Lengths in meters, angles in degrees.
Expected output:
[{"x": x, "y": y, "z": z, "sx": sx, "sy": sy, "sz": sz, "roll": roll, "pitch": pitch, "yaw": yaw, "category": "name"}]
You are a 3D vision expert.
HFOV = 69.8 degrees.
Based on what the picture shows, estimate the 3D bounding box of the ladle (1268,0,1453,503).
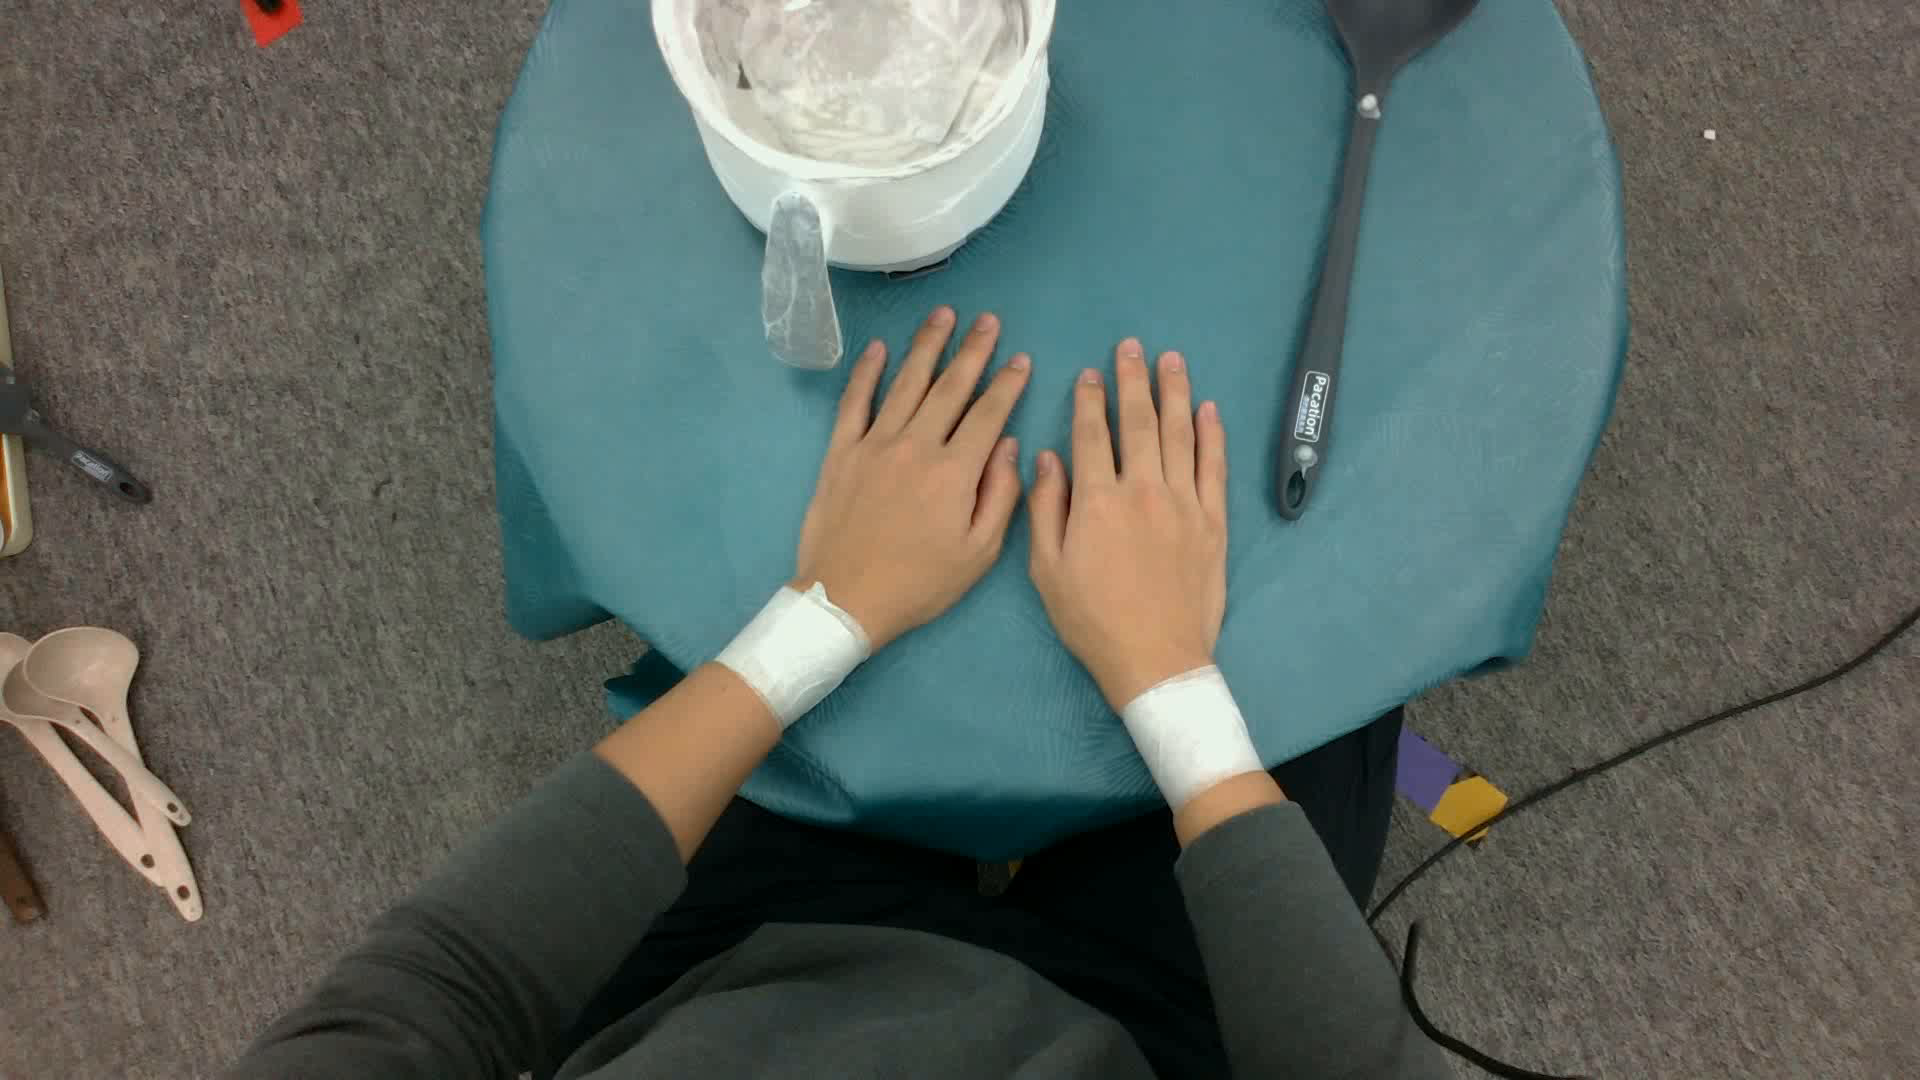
[{"x": 0.194, "y": -0.174, "z": 0.697, "sx": 0.086, "sy": 0.064, "sz": 0.314, "roll": 11, "pitch": 81, "yaw": 7, "category": "ladle"}]

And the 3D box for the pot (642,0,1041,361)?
[{"x": -0.058, "y": -0.208, "z": 0.665, "sx": 0.179, "sy": 0.136, "sz": 0.234, "roll": 13, "pitch": 81, "yaw": 2, "category": "pot"}]
